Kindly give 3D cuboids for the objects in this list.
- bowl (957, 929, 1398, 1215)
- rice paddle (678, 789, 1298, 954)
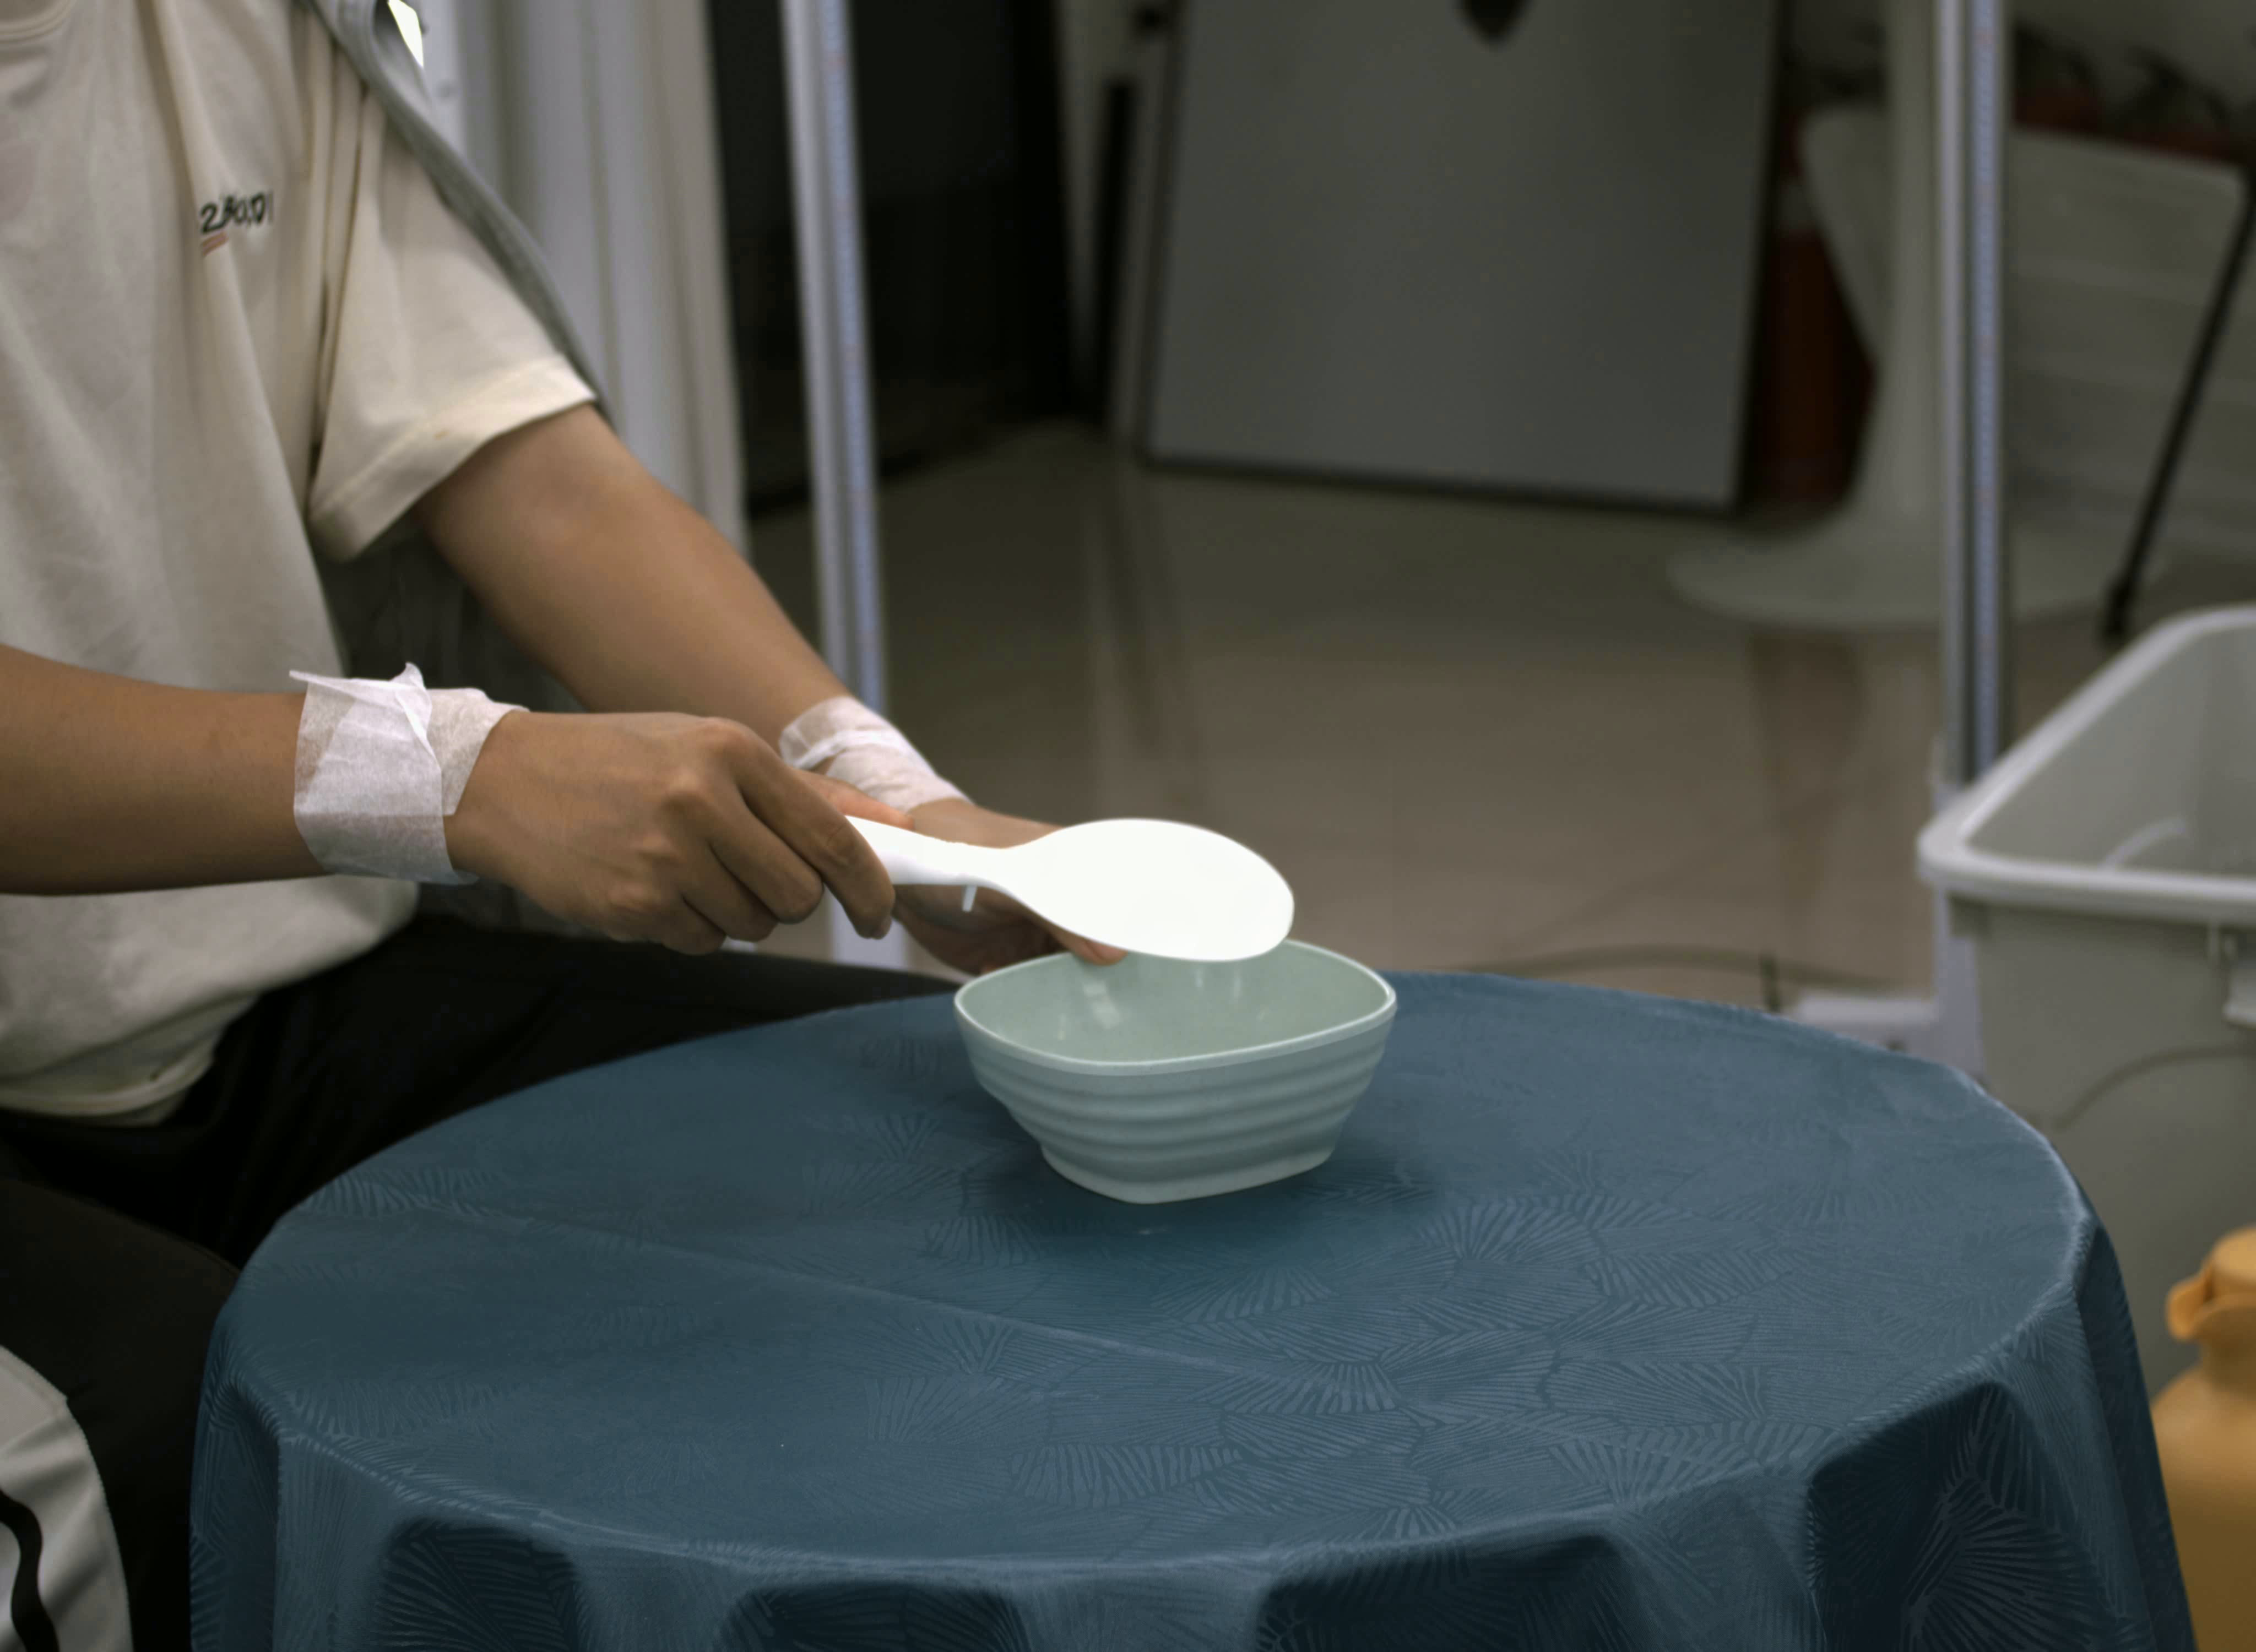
[{"bbox_3d":[0.017,0.085,1.797,0.149,0.059,0.152,-3,17,0],"label":"bowl"},{"bbox_3d":[-0.043,0.011,1.743,0.202,0.029,0.069,5,43,-8],"label":"rice paddle"}]
